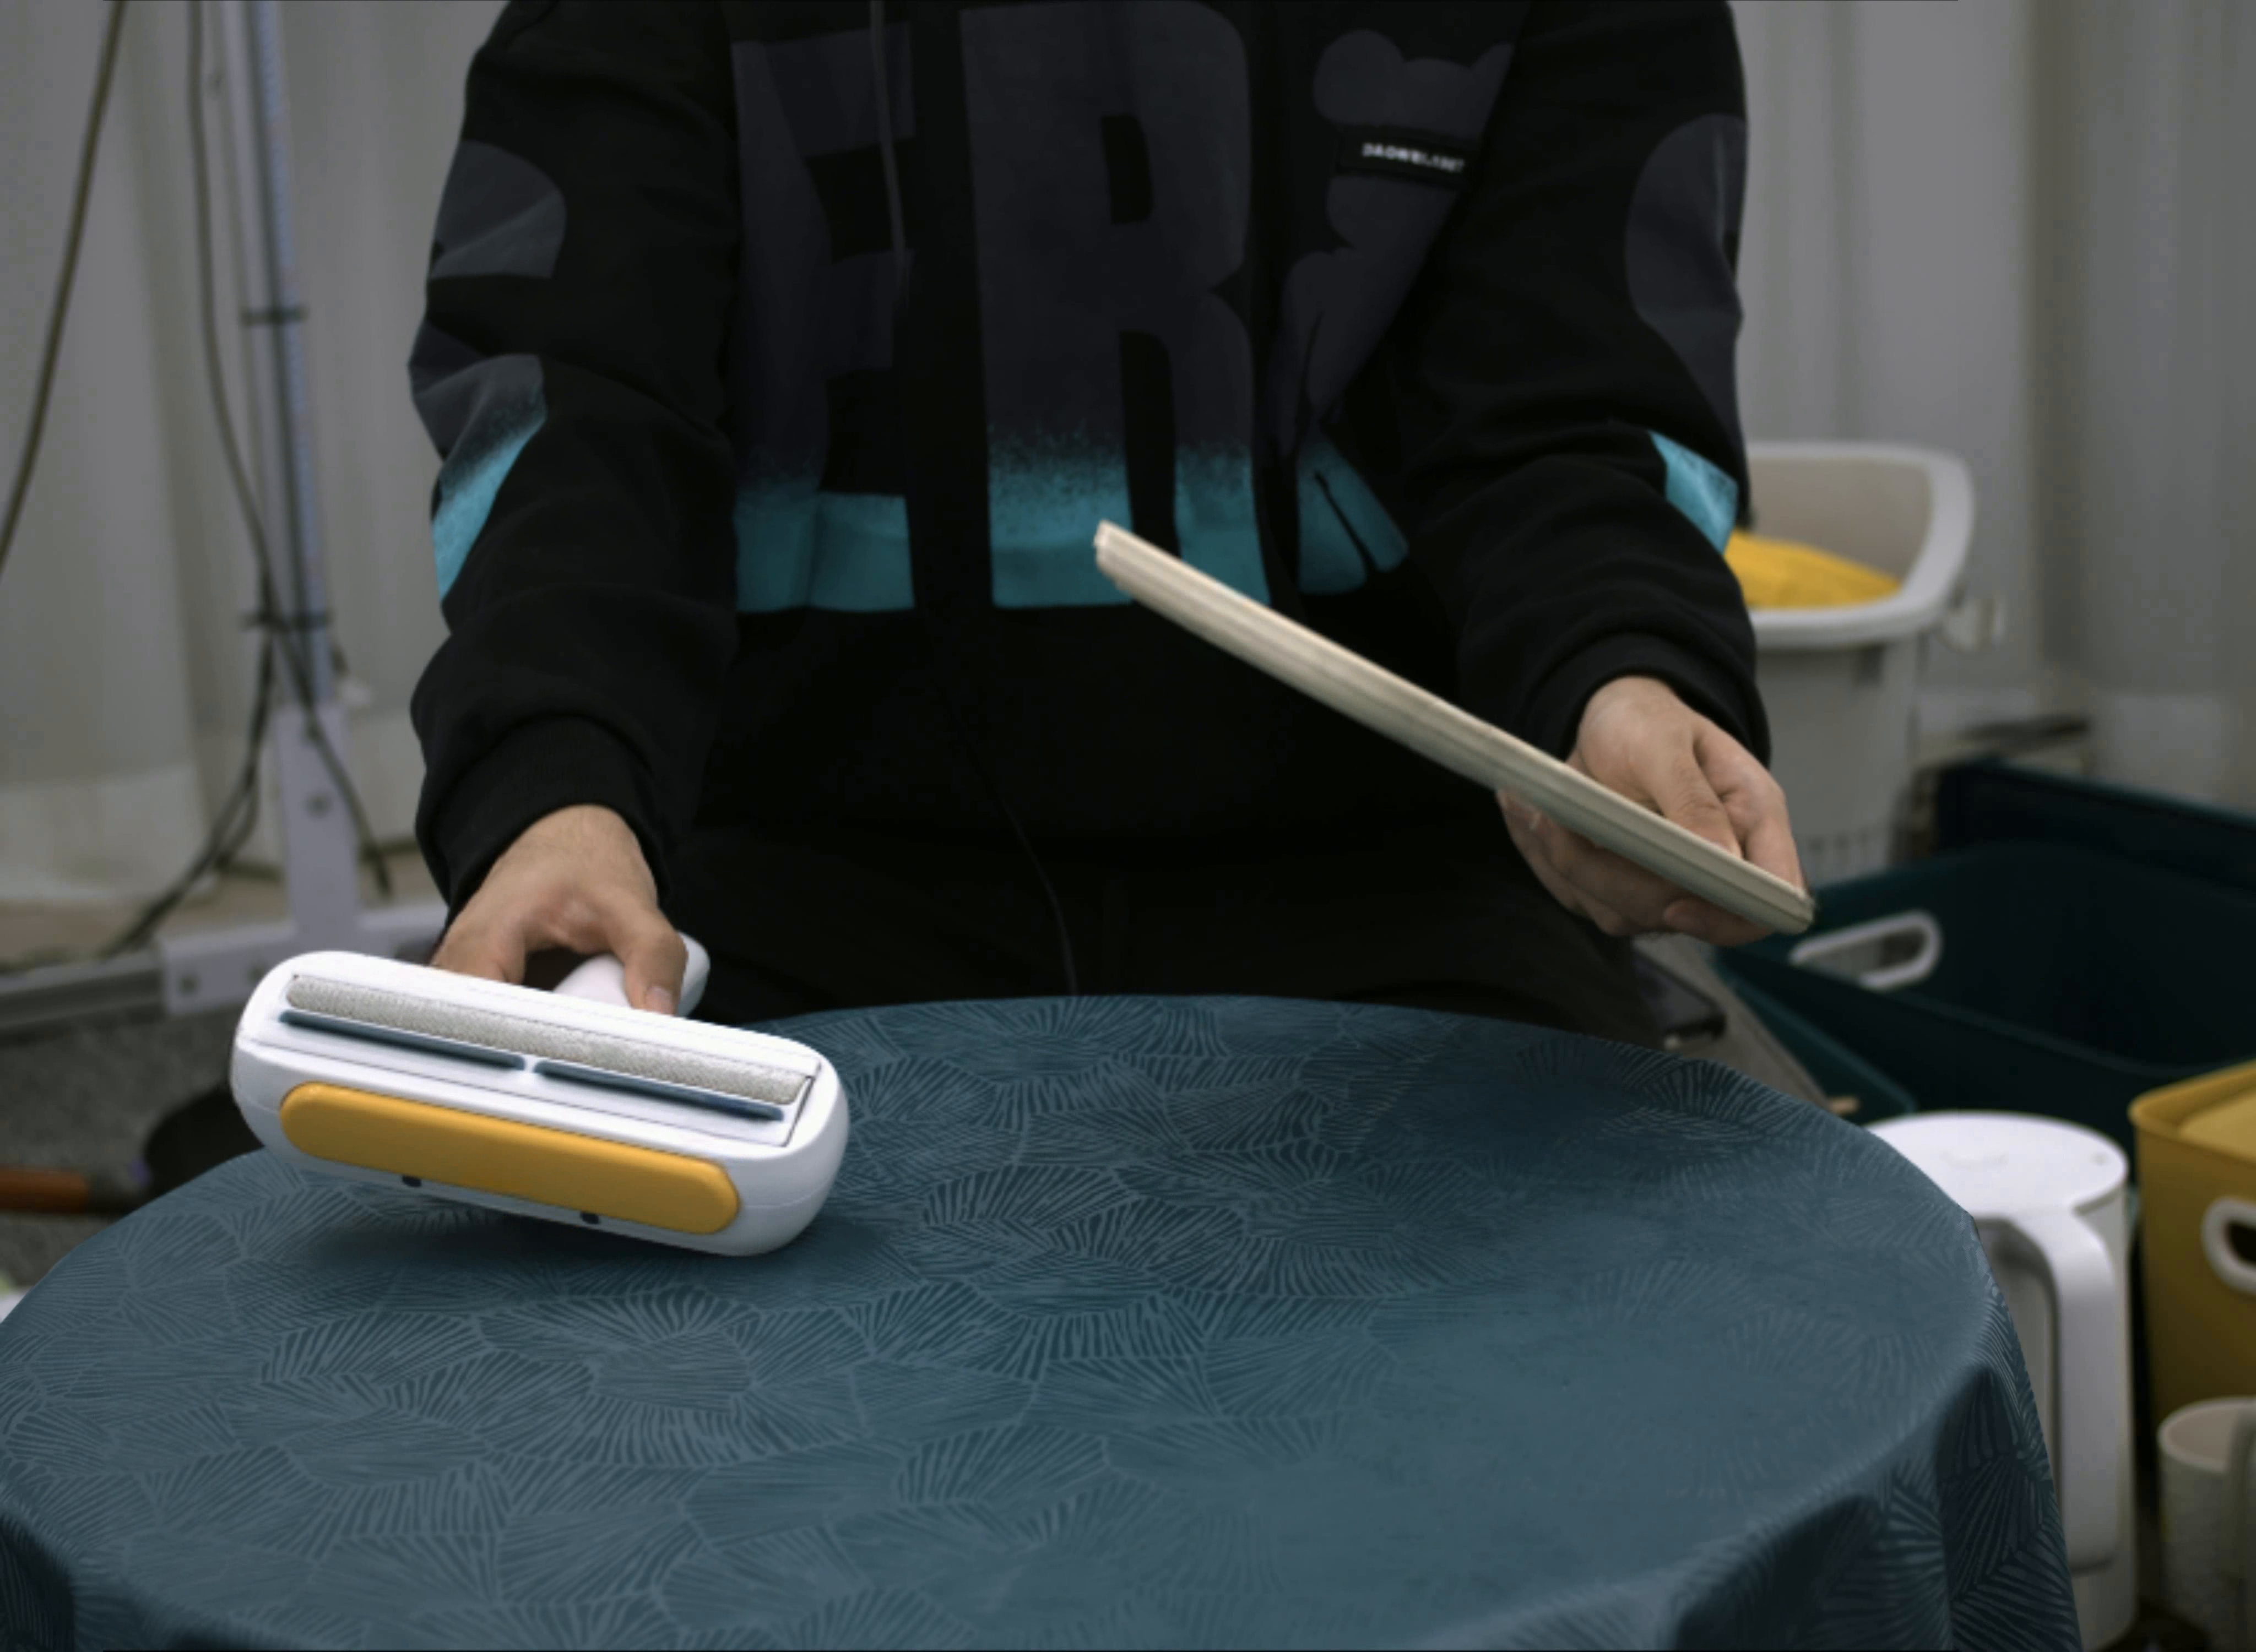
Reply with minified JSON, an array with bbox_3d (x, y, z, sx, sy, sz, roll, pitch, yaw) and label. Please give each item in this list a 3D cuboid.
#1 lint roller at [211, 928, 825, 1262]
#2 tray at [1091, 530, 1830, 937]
[{"bbox_3d":[-0.174,0.067,1.745,0.193,0.073,0.194,8,27,13],"label":"lint roller"},{"bbox_3d":[0.105,-0.027,1.747,0.237,0.017,0.173,26,3,-39],"label":"tray"}]
